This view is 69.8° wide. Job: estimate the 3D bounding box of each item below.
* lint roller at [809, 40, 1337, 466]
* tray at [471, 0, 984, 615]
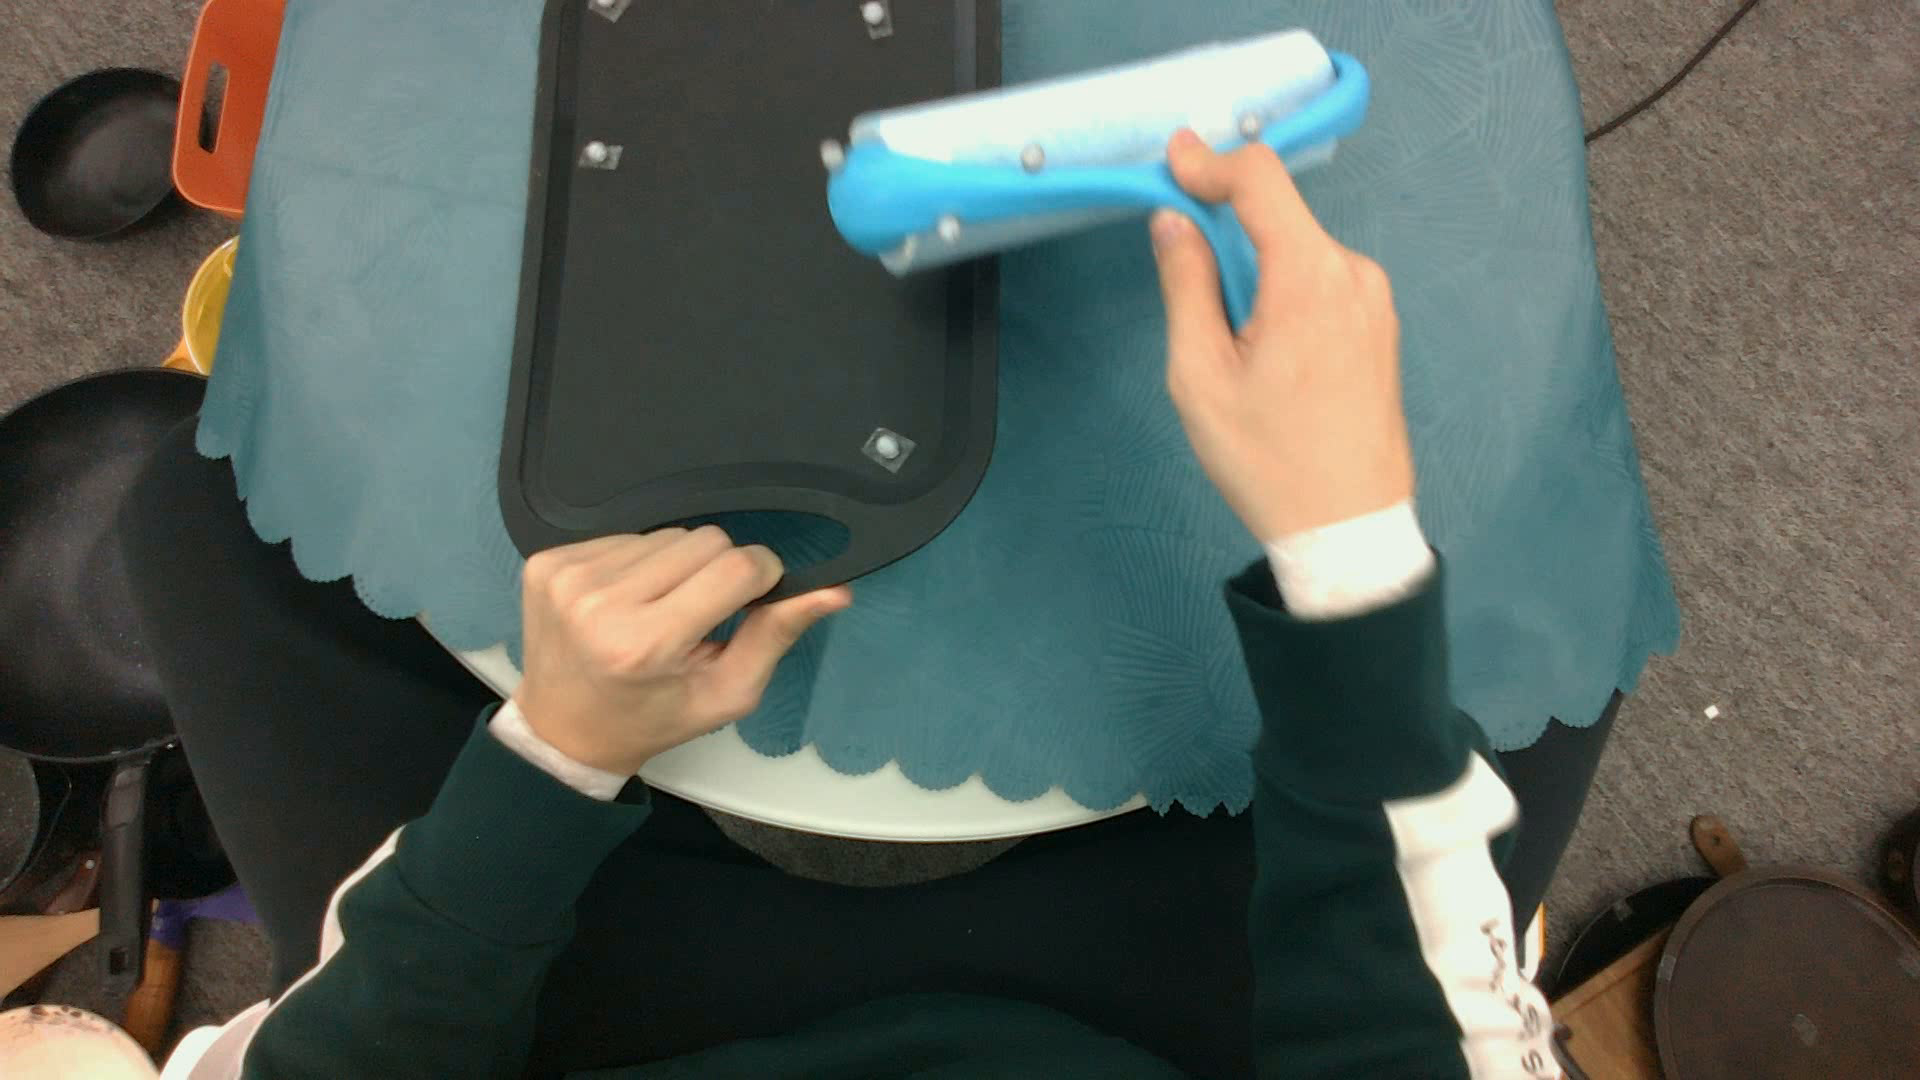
[{"bbox_3d":[0.078,-0.111,0.514,0.229,0.067,0.180,-22,57,-24],"label":"lint roller"},{"bbox_3d":[-0.094,-0.127,0.569,0.211,0.010,0.326,-4,70,10],"label":"tray"}]
